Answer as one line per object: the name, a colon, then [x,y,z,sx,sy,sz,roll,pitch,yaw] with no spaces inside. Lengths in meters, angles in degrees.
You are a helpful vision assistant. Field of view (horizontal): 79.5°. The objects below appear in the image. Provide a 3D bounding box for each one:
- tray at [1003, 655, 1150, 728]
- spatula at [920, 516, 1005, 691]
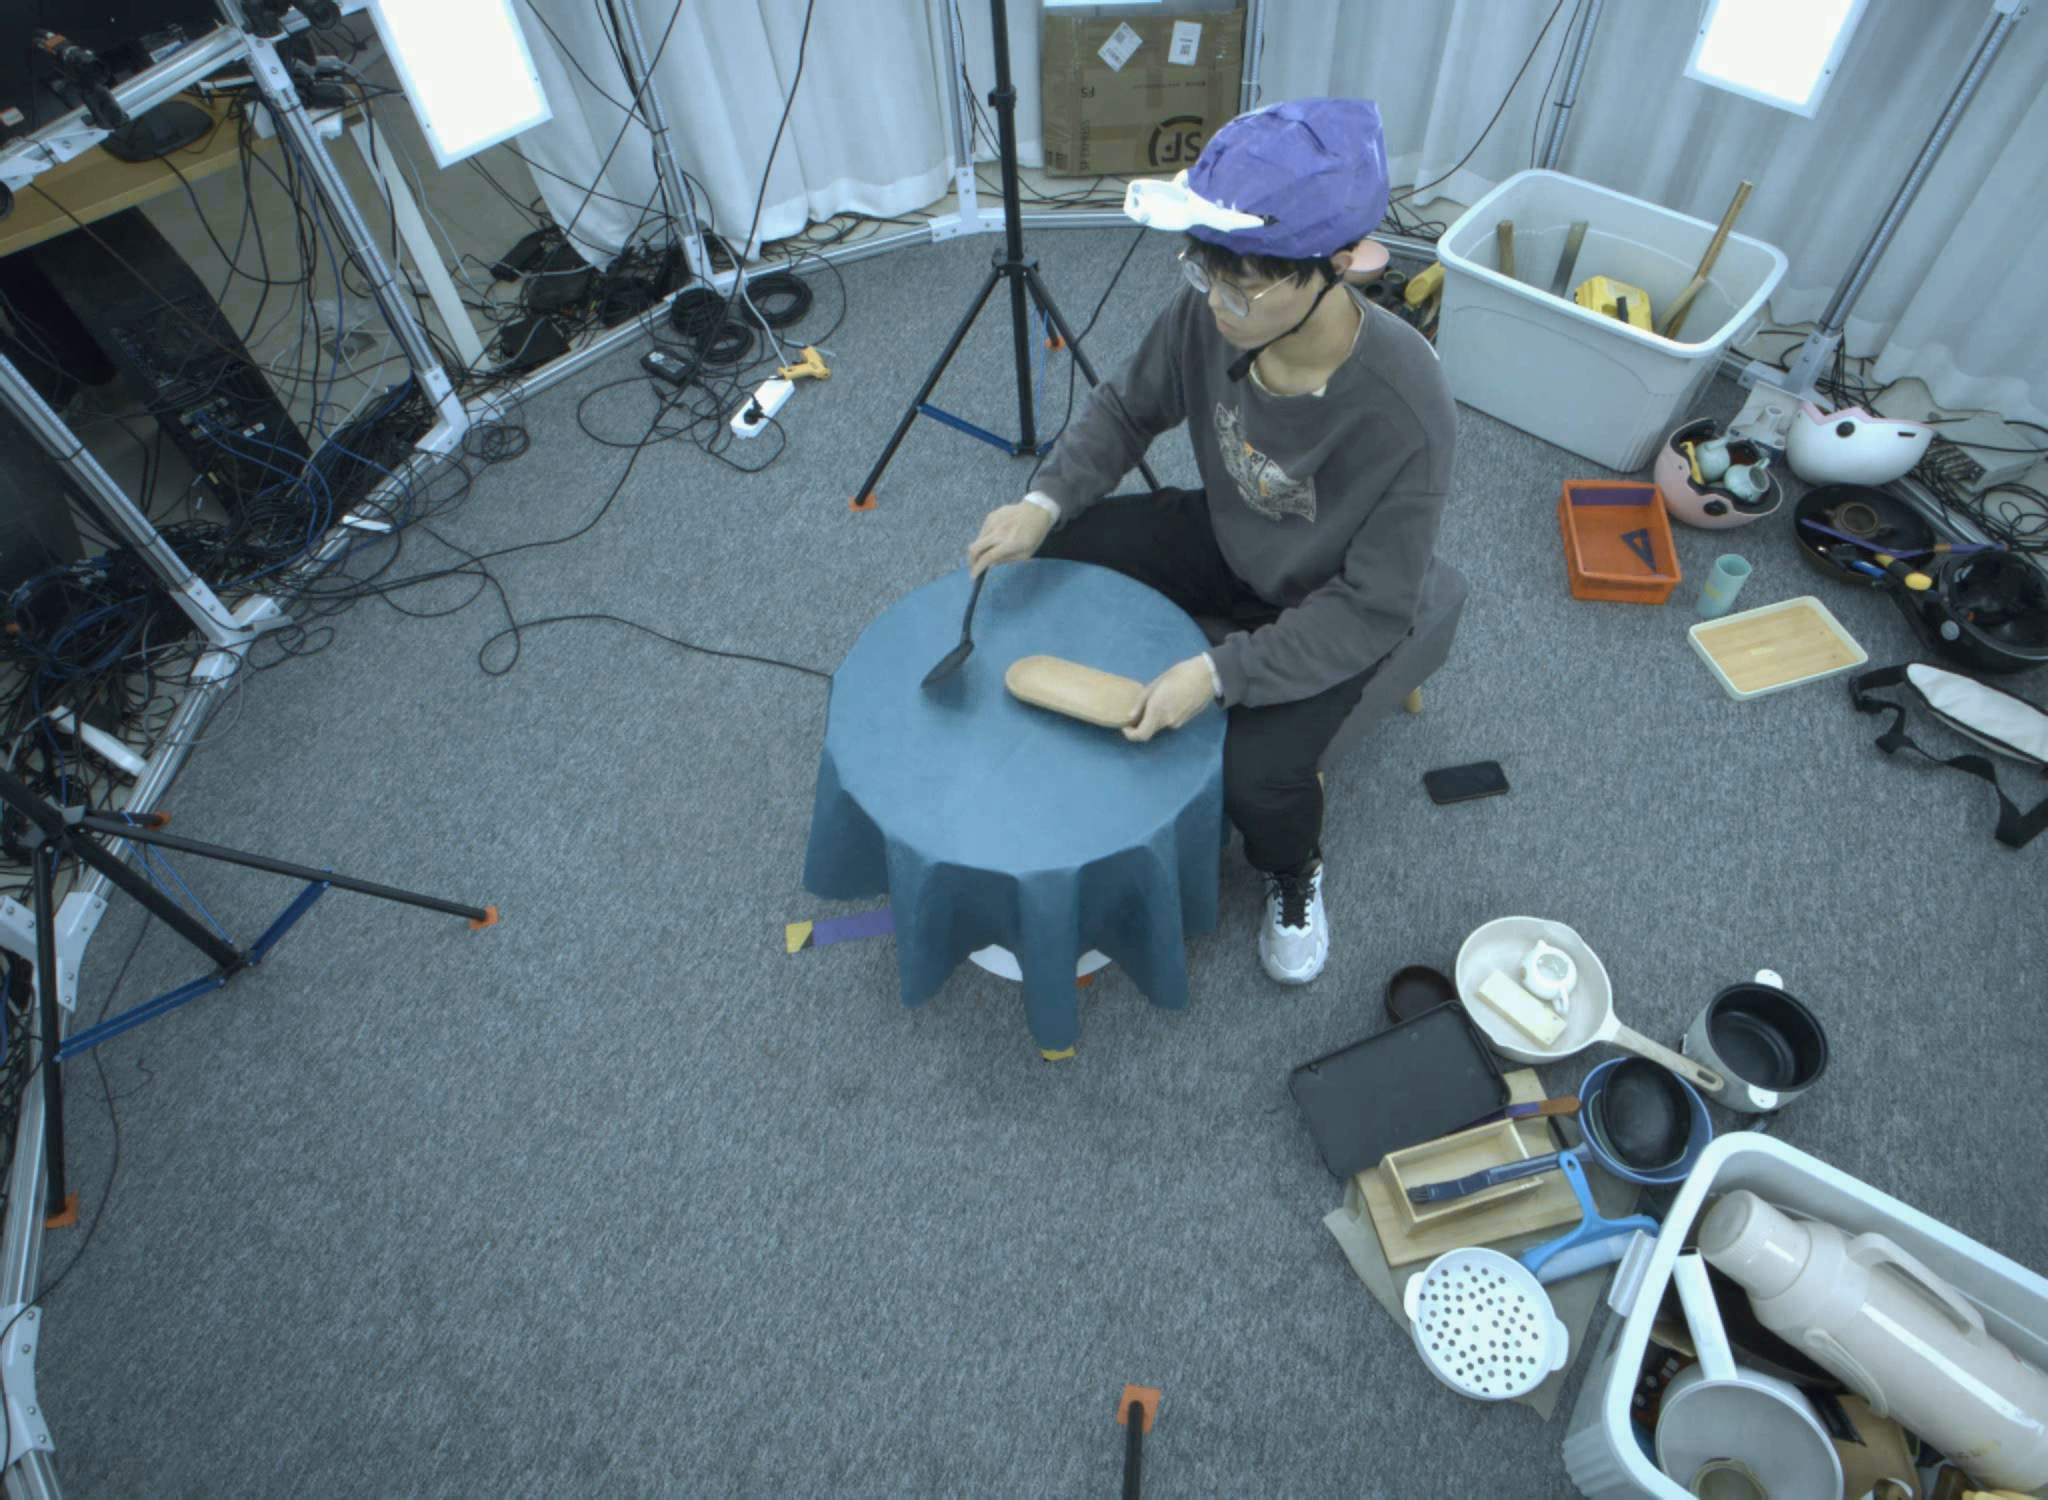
tray: [0.076,-0.087,1.817,0.227,0.020,0.102,18,46,23]
spatula: [-0.081,-0.231,1.876,0.098,0.041,0.325,-12,57,47]
